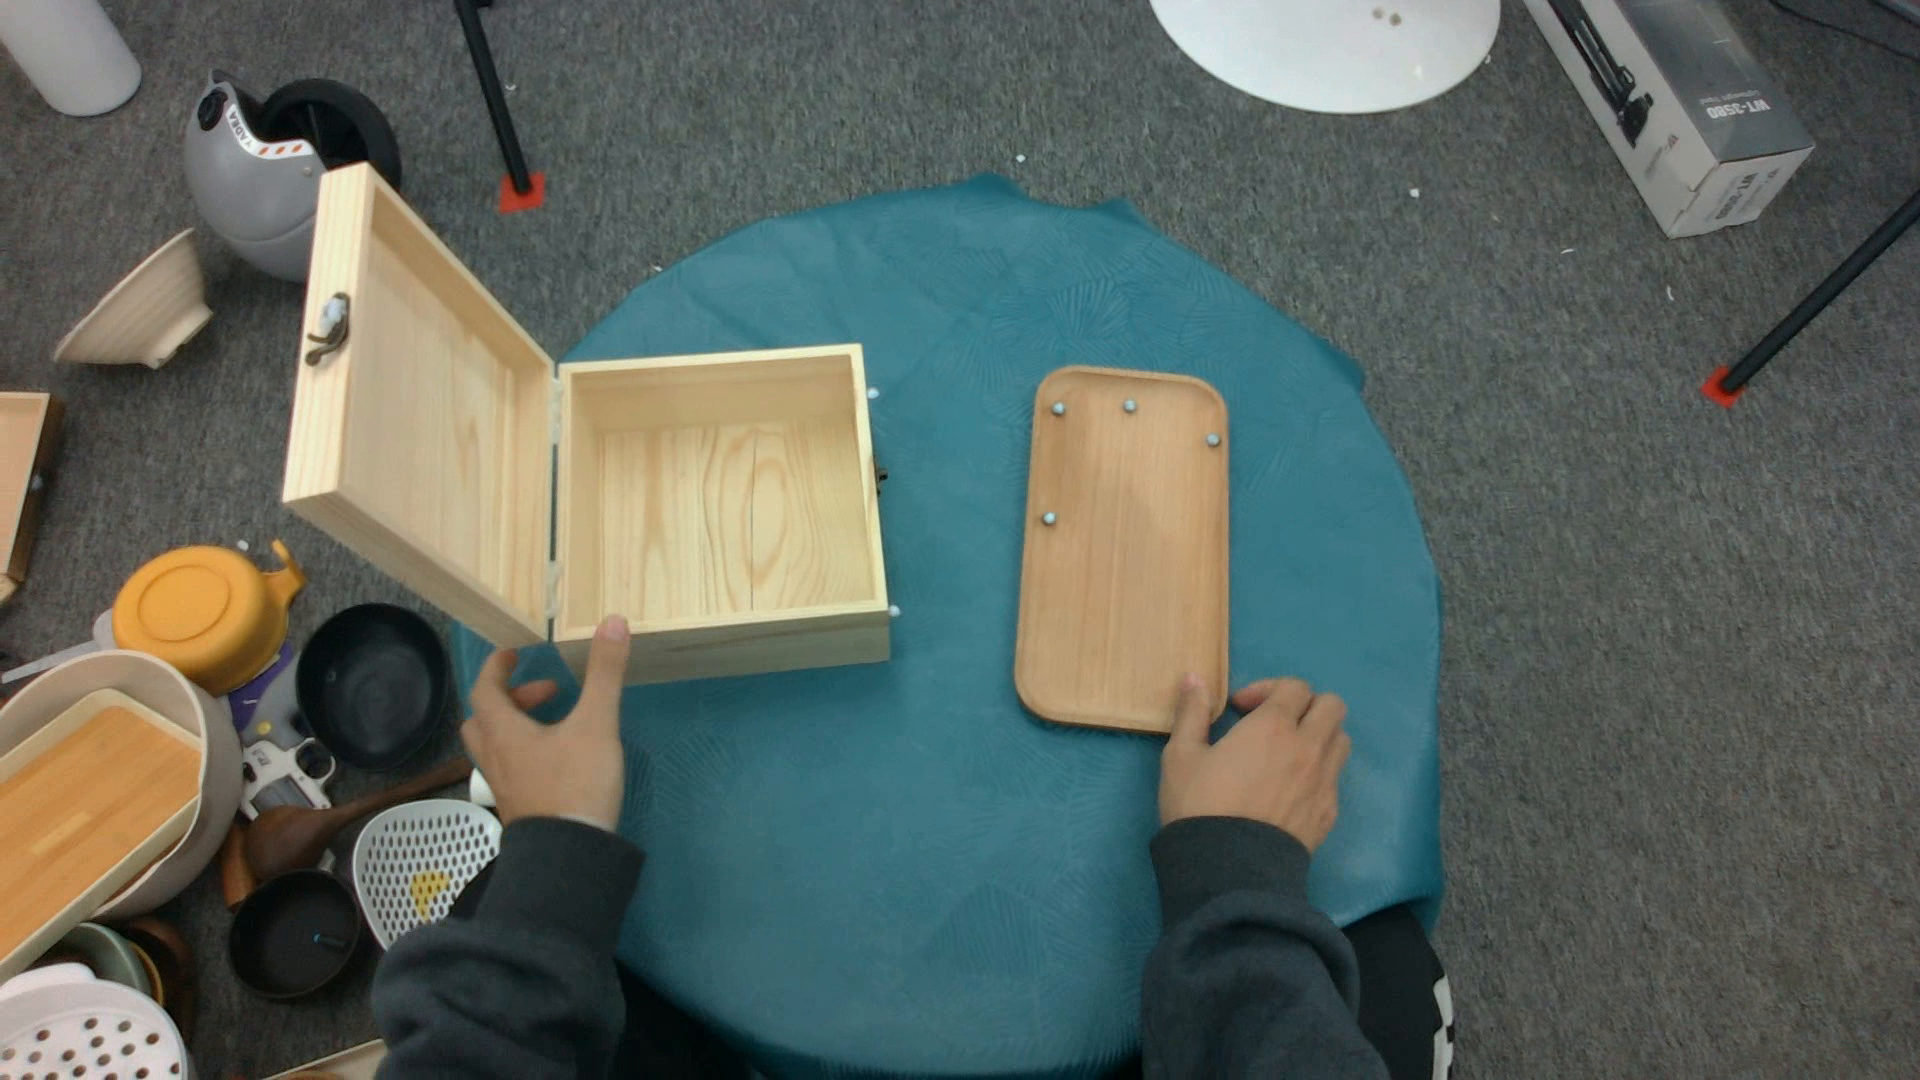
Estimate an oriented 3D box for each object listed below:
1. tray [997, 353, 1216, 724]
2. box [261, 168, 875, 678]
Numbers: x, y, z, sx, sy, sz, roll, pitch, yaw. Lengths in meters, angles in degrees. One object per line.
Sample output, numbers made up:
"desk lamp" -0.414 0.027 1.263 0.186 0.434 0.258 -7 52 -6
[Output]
"tray" 0.094 -0.007 0.855 0.130 0.023 0.251 5 63 2
"box" -0.181 -0.056 0.738 0.265 0.252 0.182 -6 66 -5
